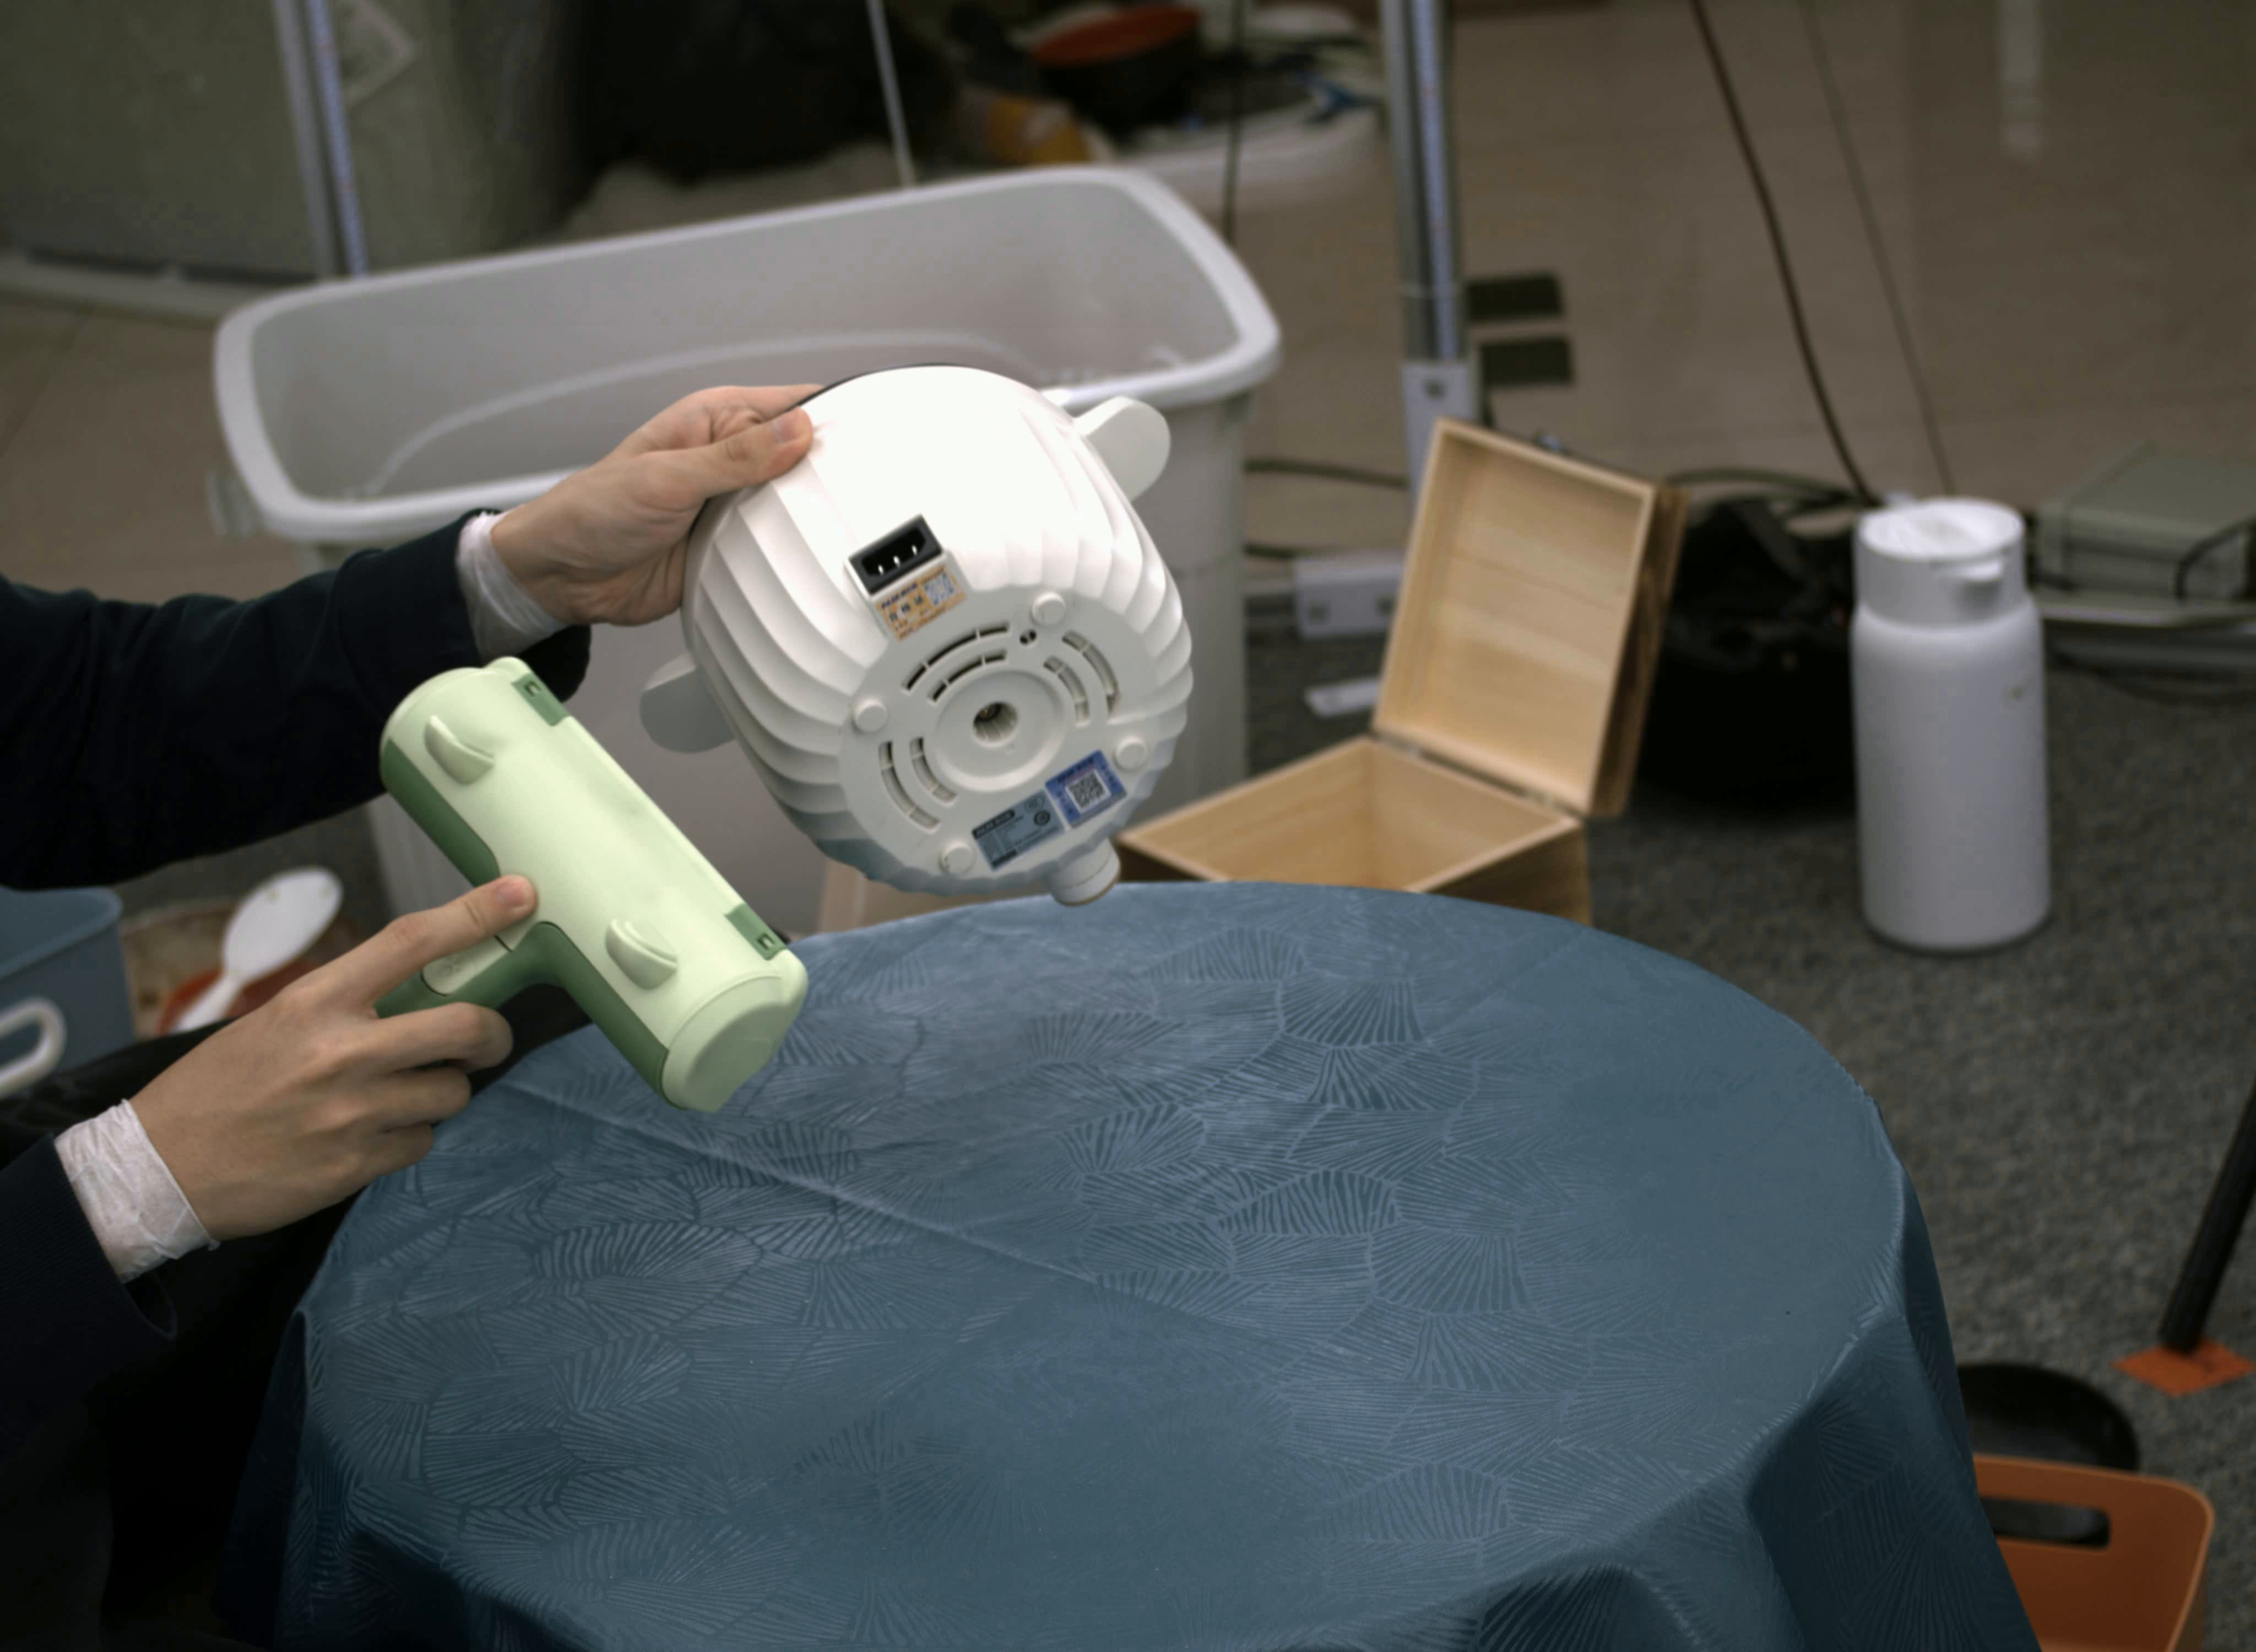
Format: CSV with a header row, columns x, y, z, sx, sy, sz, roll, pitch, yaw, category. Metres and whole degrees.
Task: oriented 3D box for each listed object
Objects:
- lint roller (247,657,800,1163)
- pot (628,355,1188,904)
x,y,z,sx,sy,sz,roll,pitch,yaw,category
-0.241,0.047,2.000,0.182,0.083,0.196,-36,61,-15,lint roller
-0.070,-0.066,2.182,0.240,0.194,0.140,-30,41,0,pot
